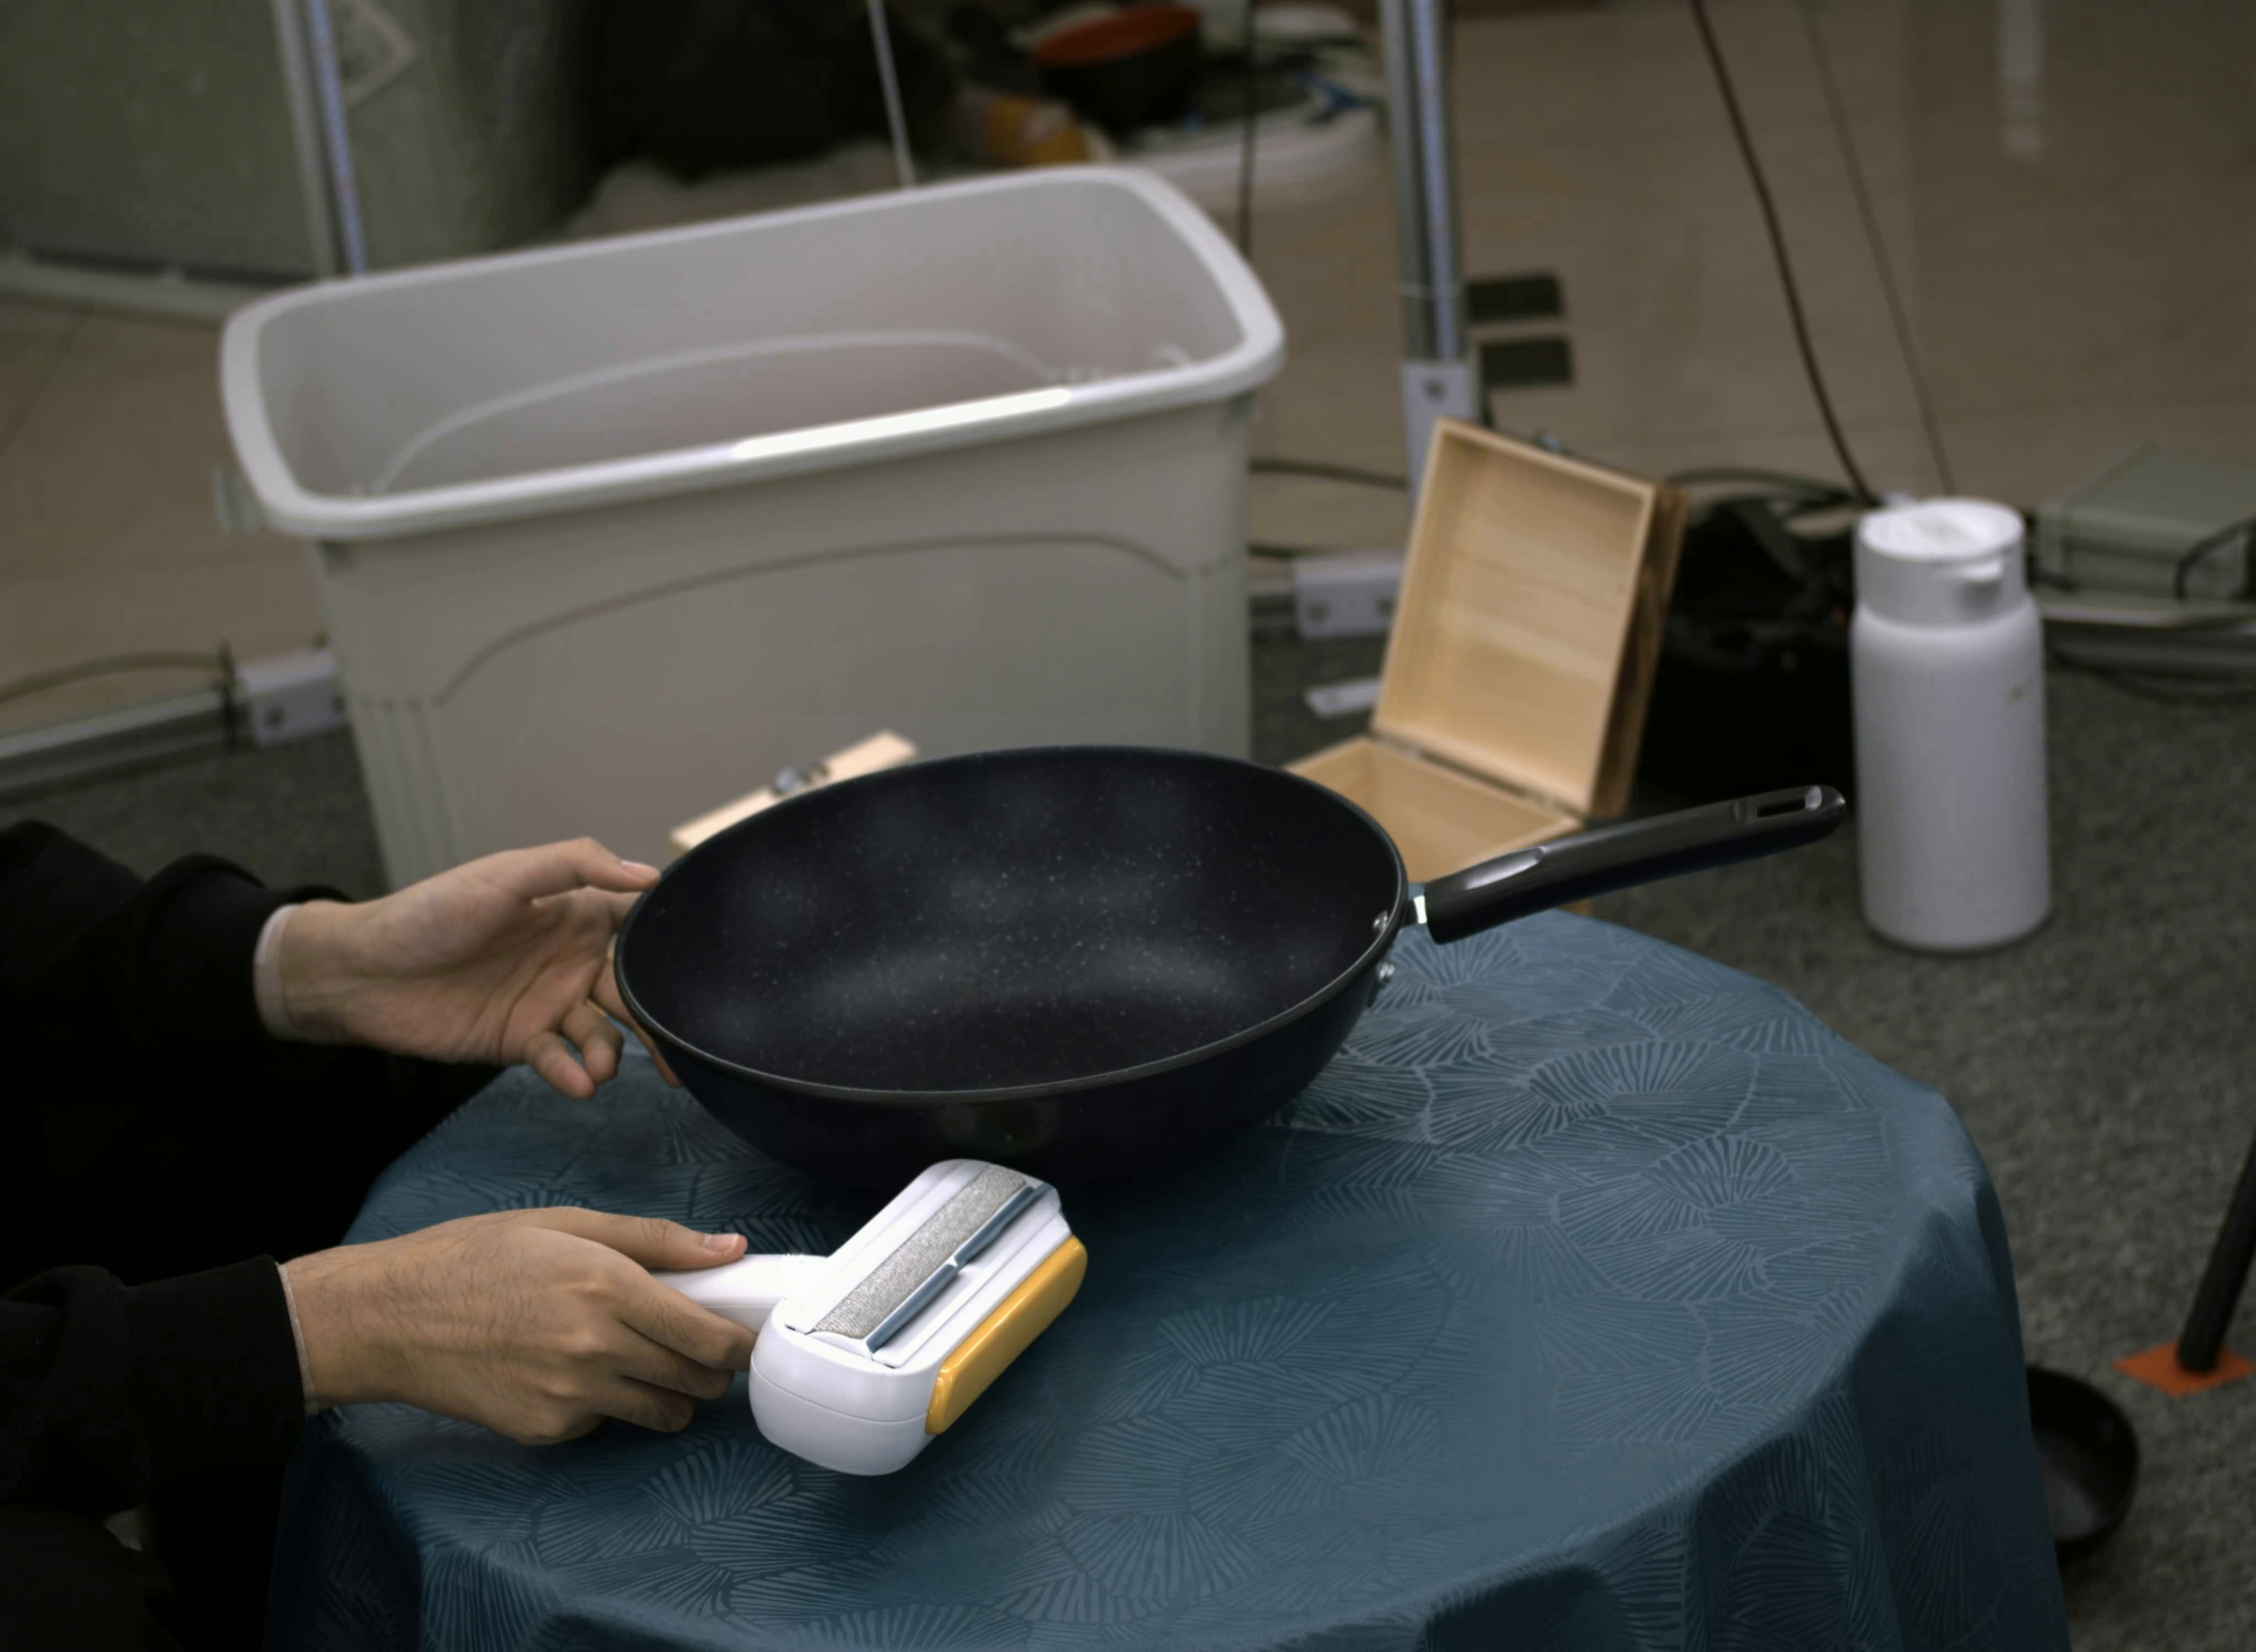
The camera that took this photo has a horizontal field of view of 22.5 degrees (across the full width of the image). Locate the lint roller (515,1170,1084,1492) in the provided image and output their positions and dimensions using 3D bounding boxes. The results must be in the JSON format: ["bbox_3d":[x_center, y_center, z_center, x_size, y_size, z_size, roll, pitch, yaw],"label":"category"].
[{"bbox_3d":[-0.130,0.169,2.013,0.191,0.075,0.191,13,25,20],"label":"lint roller"}]

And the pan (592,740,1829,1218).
[{"bbox_3d":[0.033,0.056,2.186,0.476,0.113,0.305,-4,27,6],"label":"pan"}]
